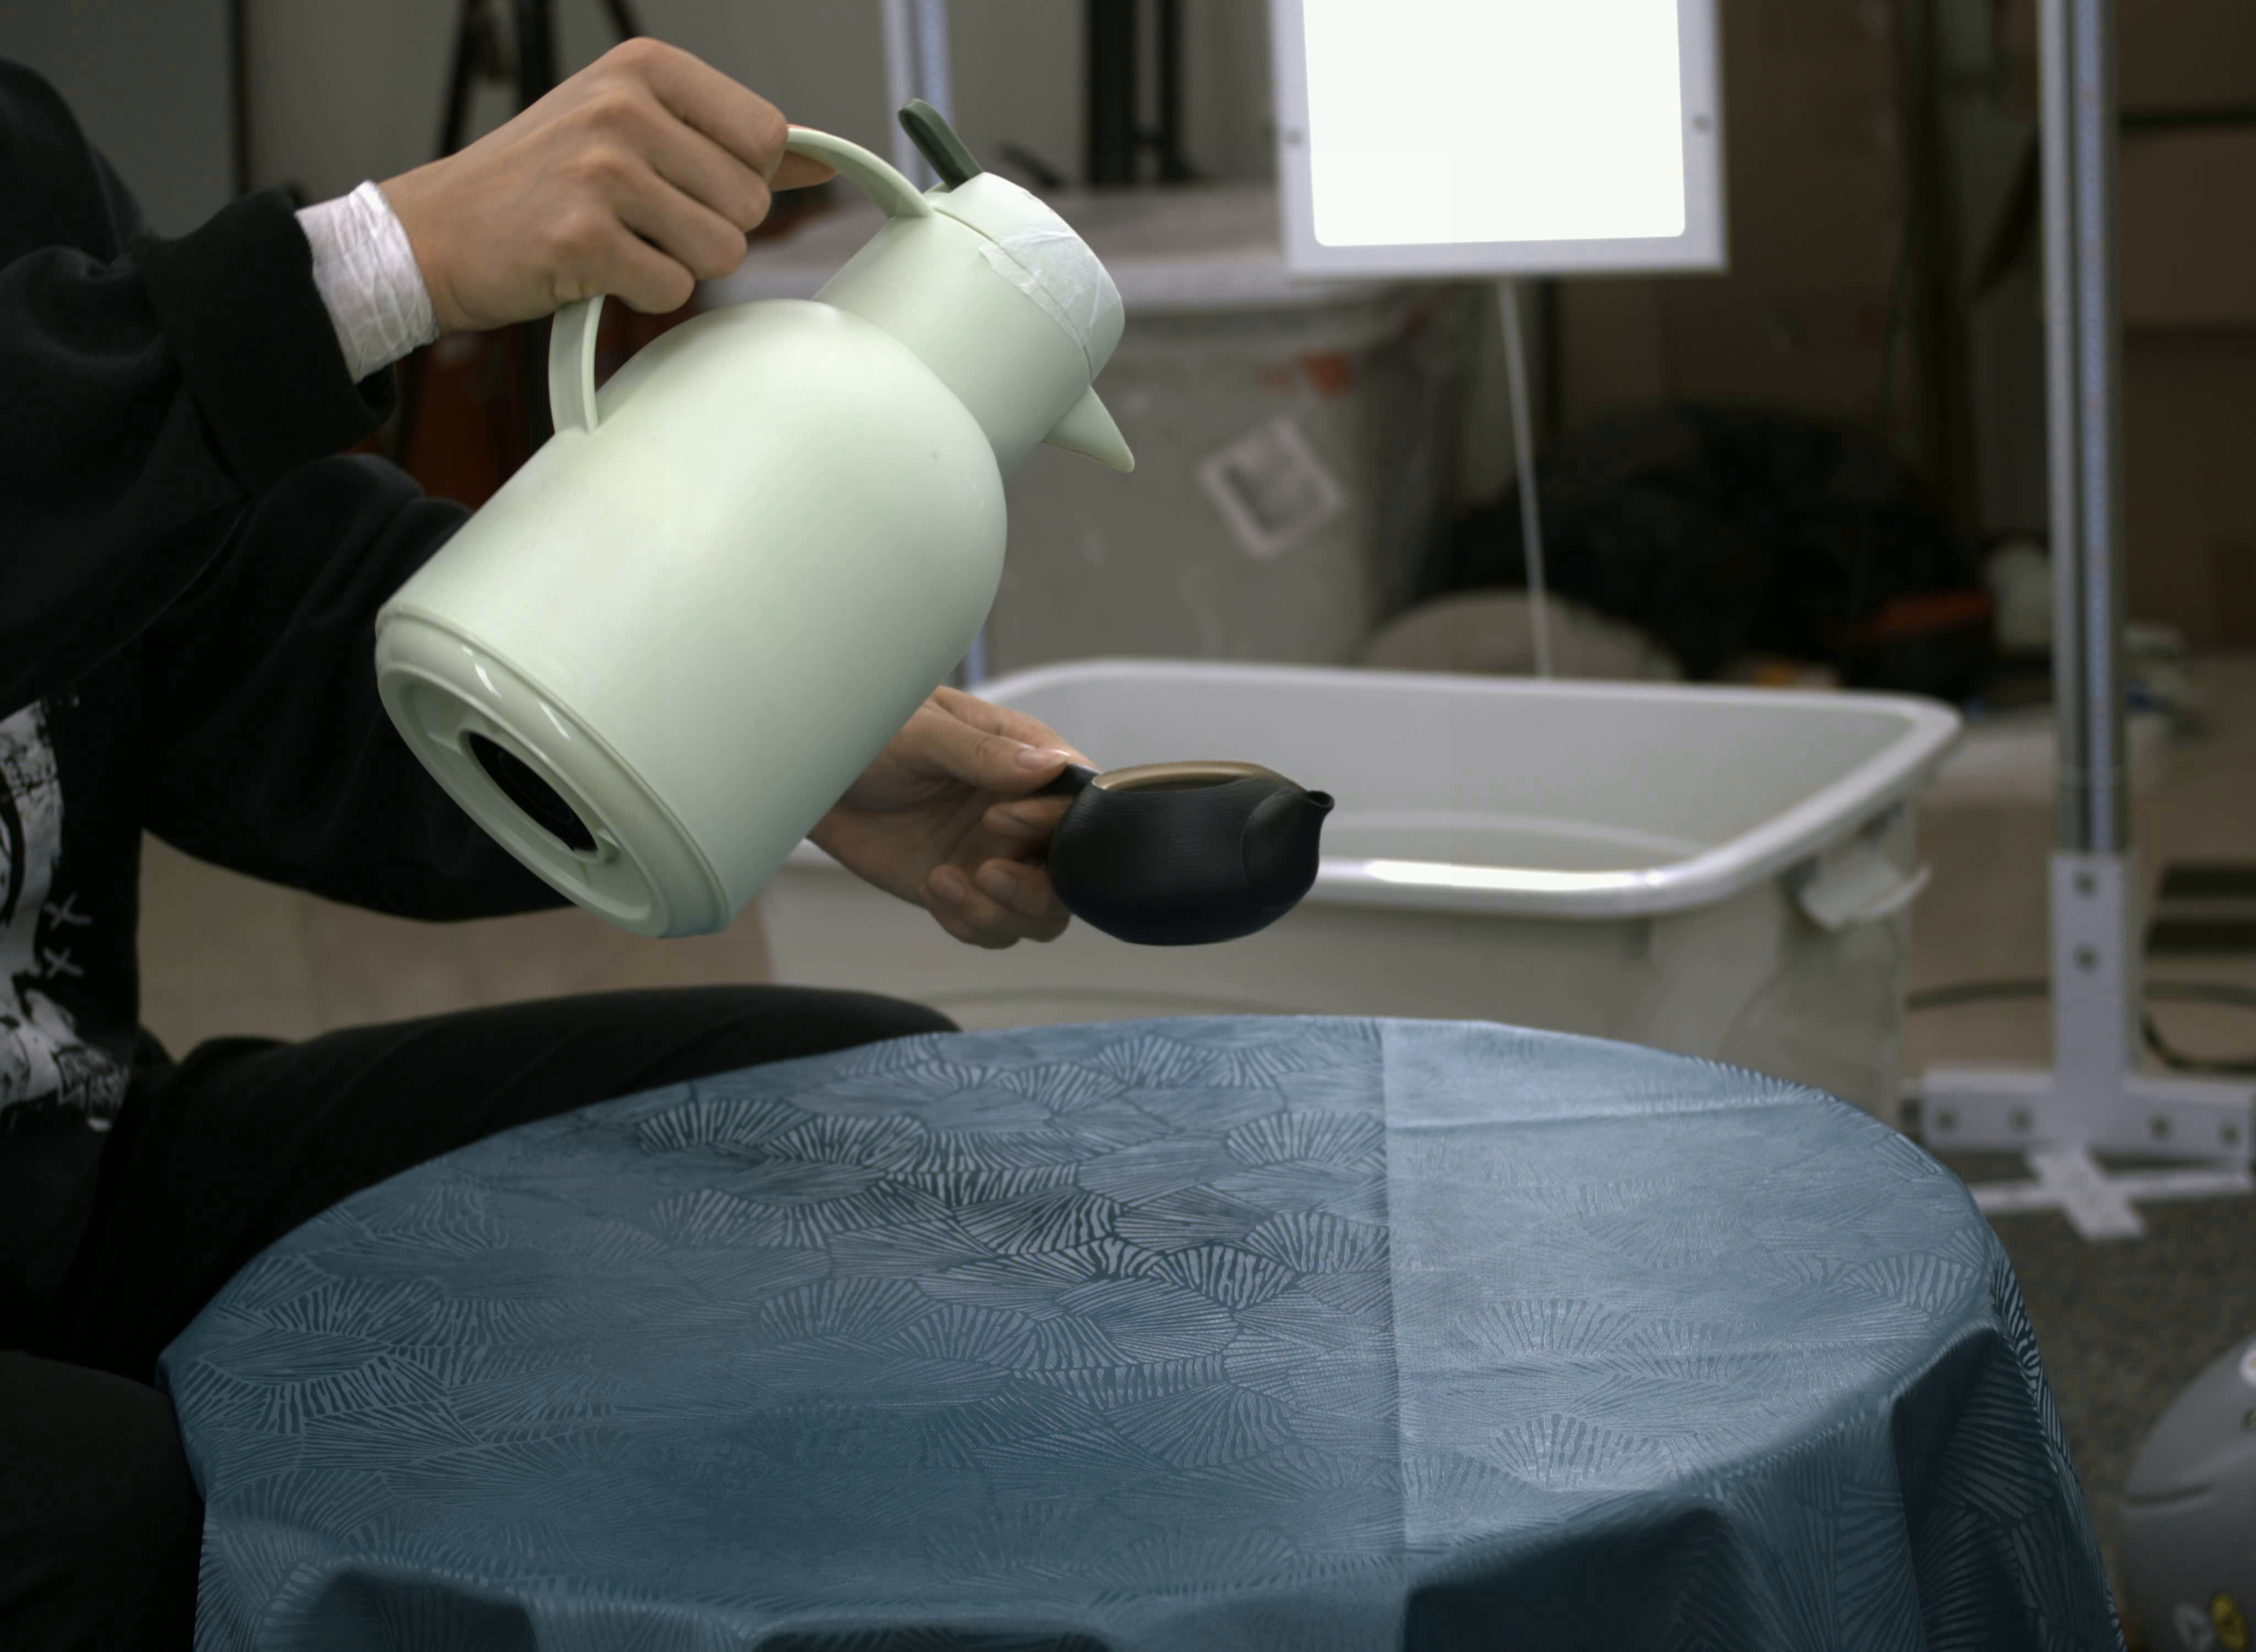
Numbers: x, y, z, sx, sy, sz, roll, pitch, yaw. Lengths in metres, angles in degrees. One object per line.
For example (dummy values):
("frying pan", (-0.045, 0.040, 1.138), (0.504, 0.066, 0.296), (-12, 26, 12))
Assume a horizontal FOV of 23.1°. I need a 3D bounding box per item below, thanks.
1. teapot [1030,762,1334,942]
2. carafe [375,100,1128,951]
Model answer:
("teapot", (0.018, 0.008, 1.841), (0.136, 0.053, 0.088), (7, 14, 43))
("carafe", (-0.118, -0.103, 1.729), (0.255, 0.185, 0.147), (-52, 24, -14))
